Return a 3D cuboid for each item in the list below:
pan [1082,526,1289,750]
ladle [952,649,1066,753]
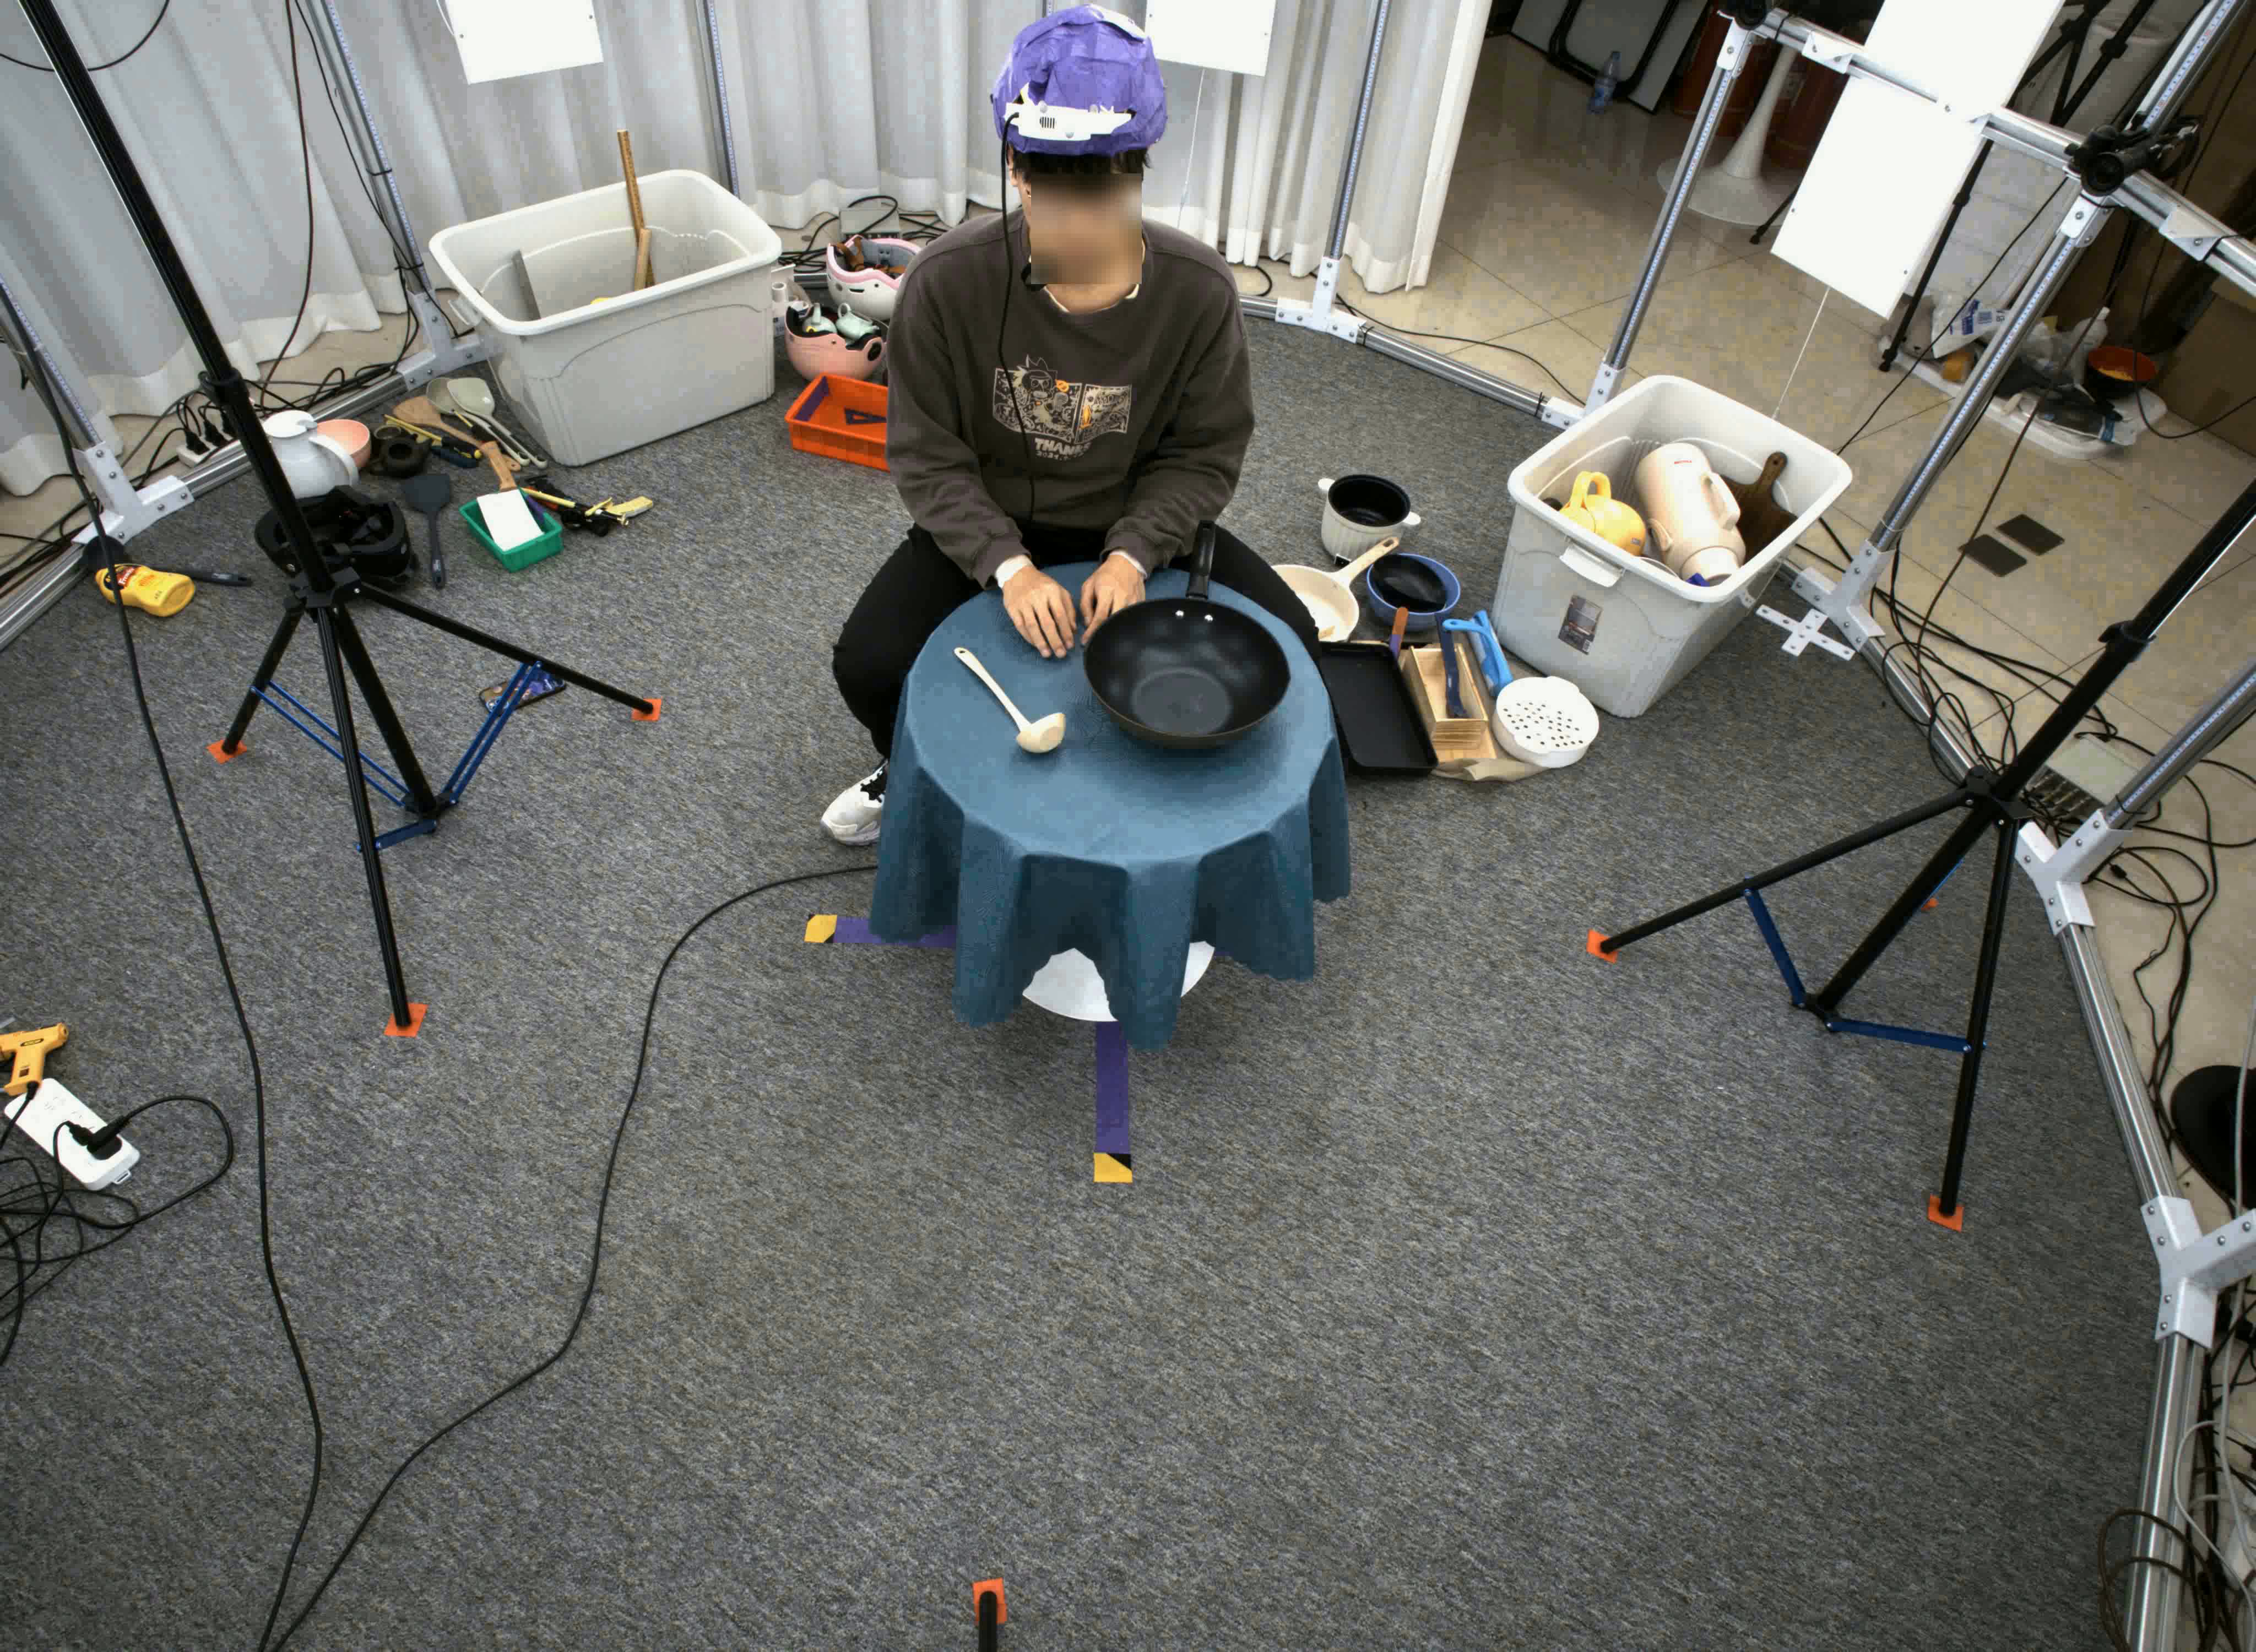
[{"bbox_3d":[0.089,-0.267,1.850,0.288,0.085,0.474,8,48,3],"label":"pan"},{"bbox_3d":[-0.176,-0.195,1.778,0.072,0.071,0.259,-31,57,-20],"label":"ladle"}]
